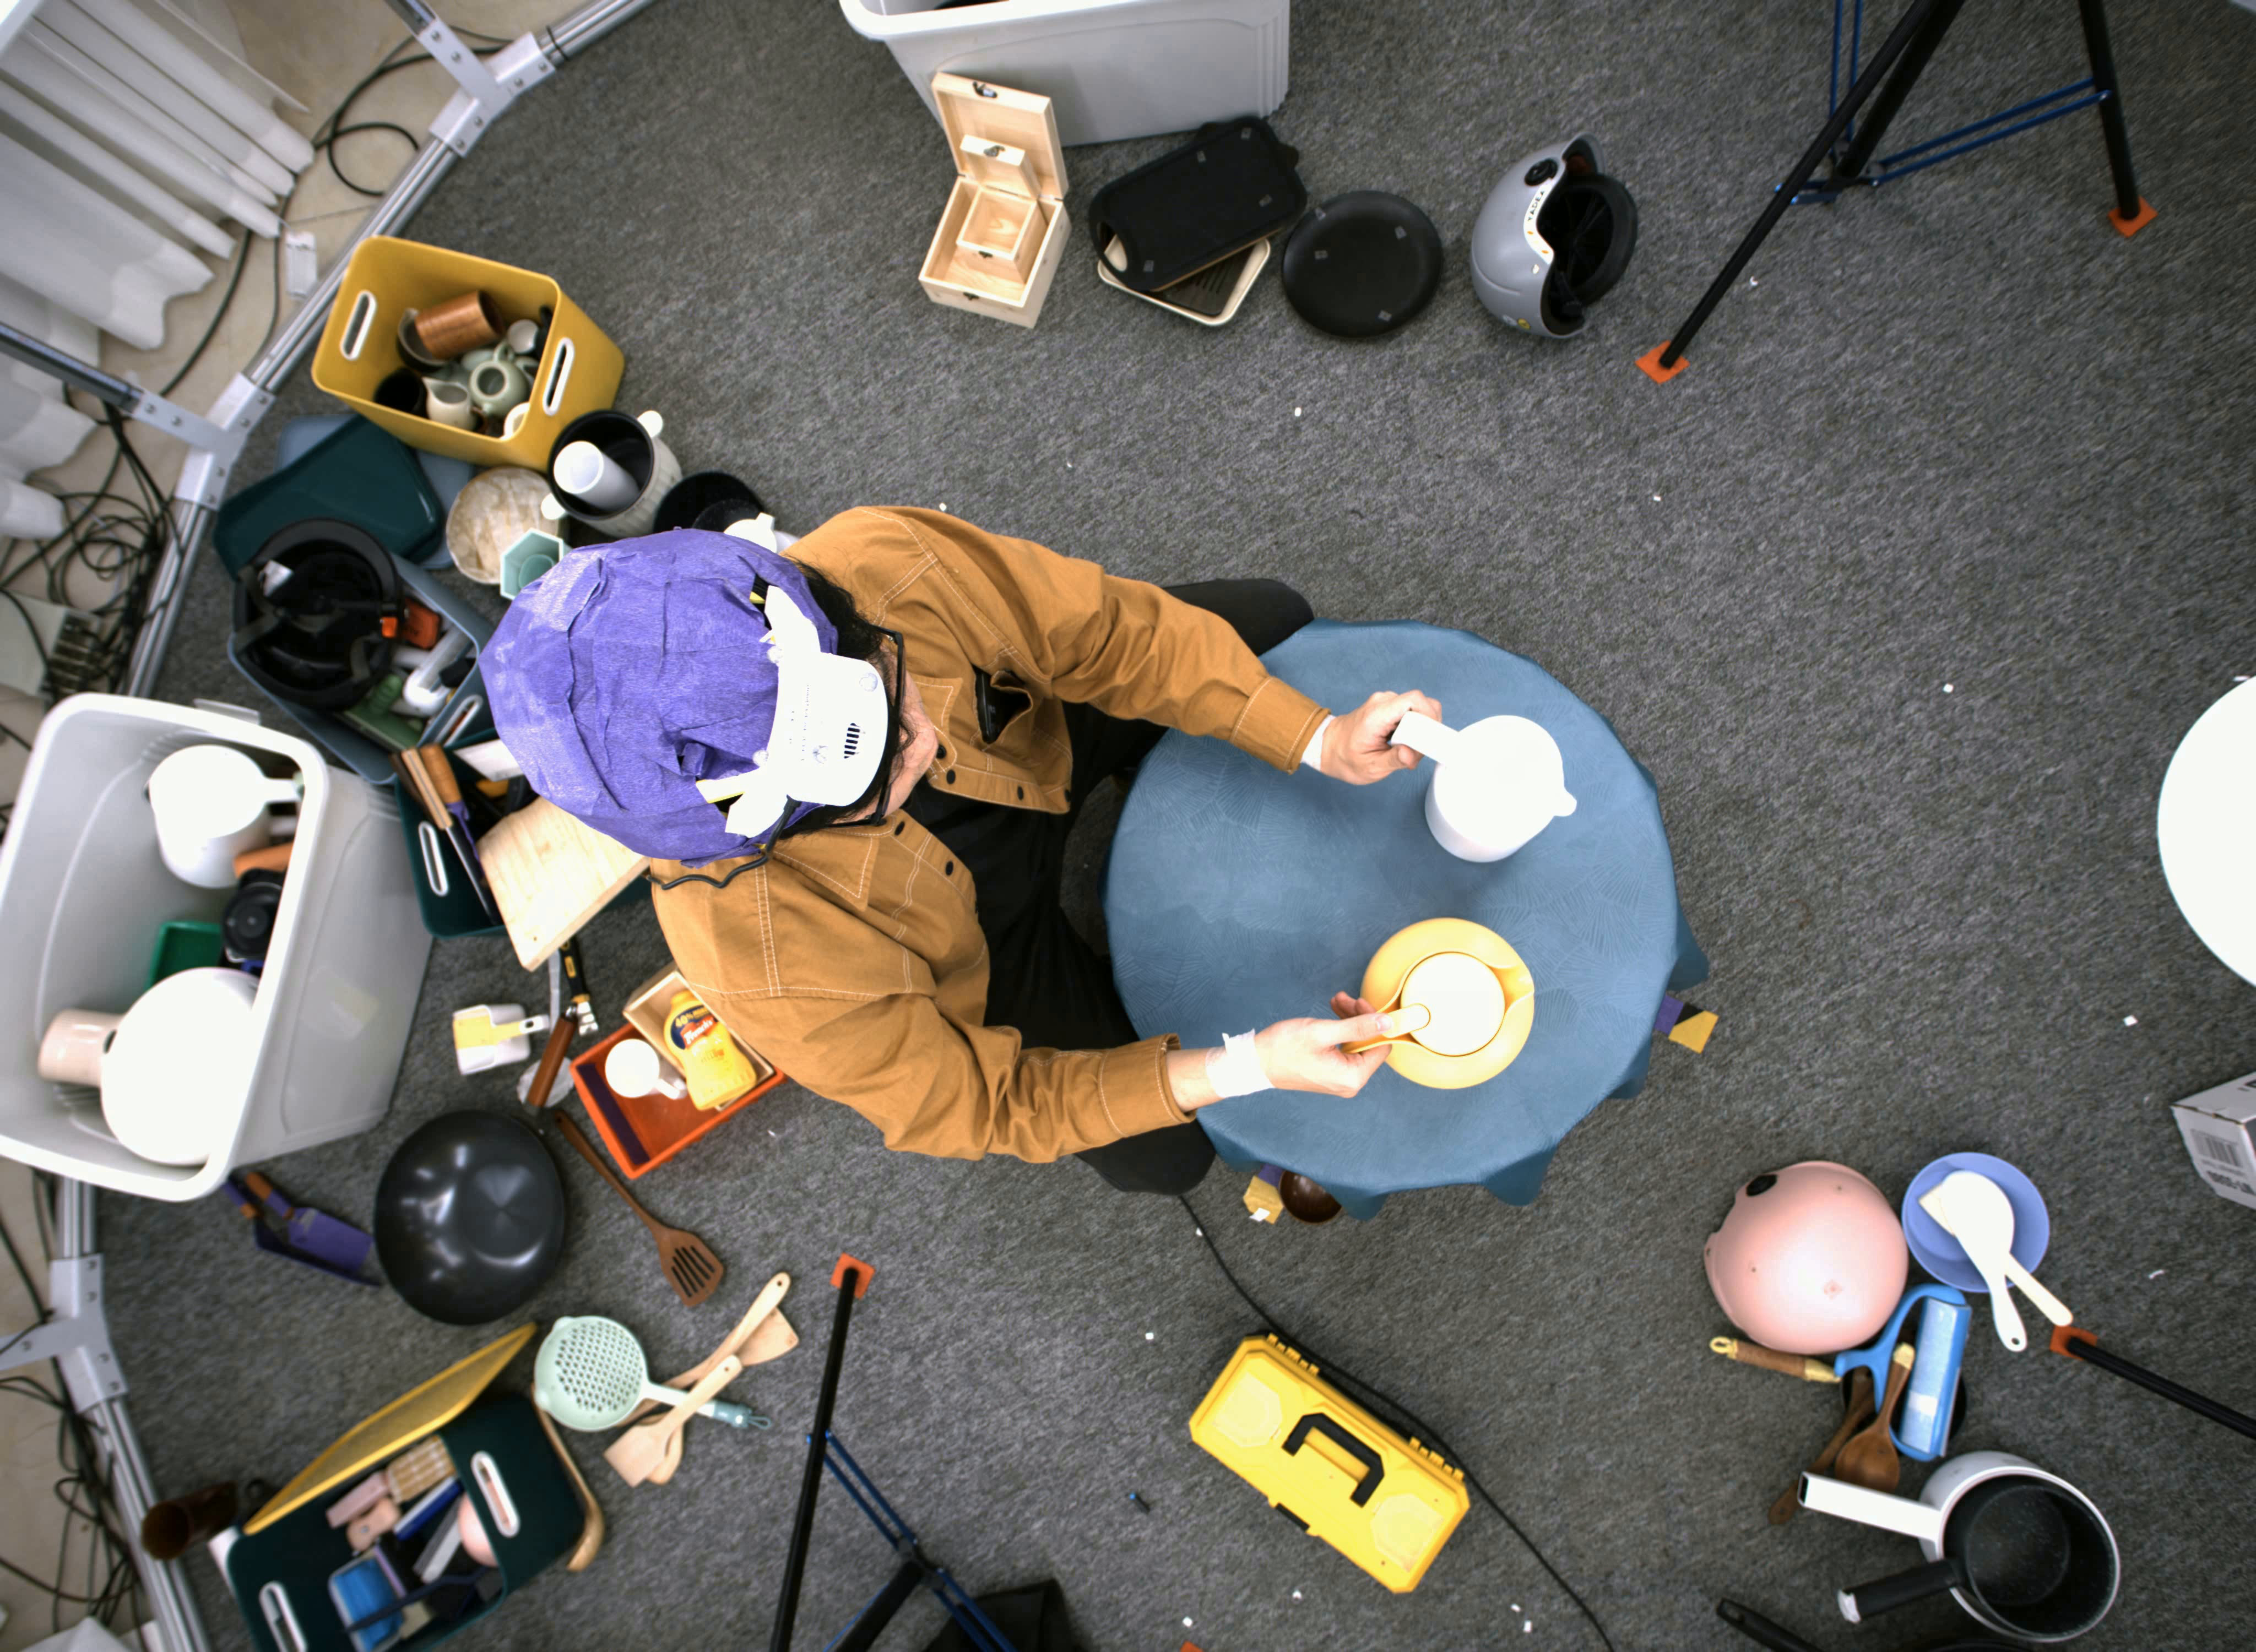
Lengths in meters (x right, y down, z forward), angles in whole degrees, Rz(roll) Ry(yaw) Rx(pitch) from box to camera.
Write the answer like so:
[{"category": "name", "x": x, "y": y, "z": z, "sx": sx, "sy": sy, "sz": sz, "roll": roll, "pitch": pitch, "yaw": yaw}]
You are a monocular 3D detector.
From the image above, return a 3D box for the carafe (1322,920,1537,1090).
[{"category": "carafe", "x": 0.285, "y": 0.174, "z": 1.320, "sx": 0.203, "sy": 0.261, "sz": 0.162, "roll": -18, "pitch": 79, "yaw": 8}]

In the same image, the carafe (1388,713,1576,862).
[{"category": "carafe", "x": 0.333, "y": -0.041, "z": 1.319, "sx": 0.172, "sy": 0.268, "sz": 0.124, "roll": 28, "pitch": 92, "yaw": 12}]
